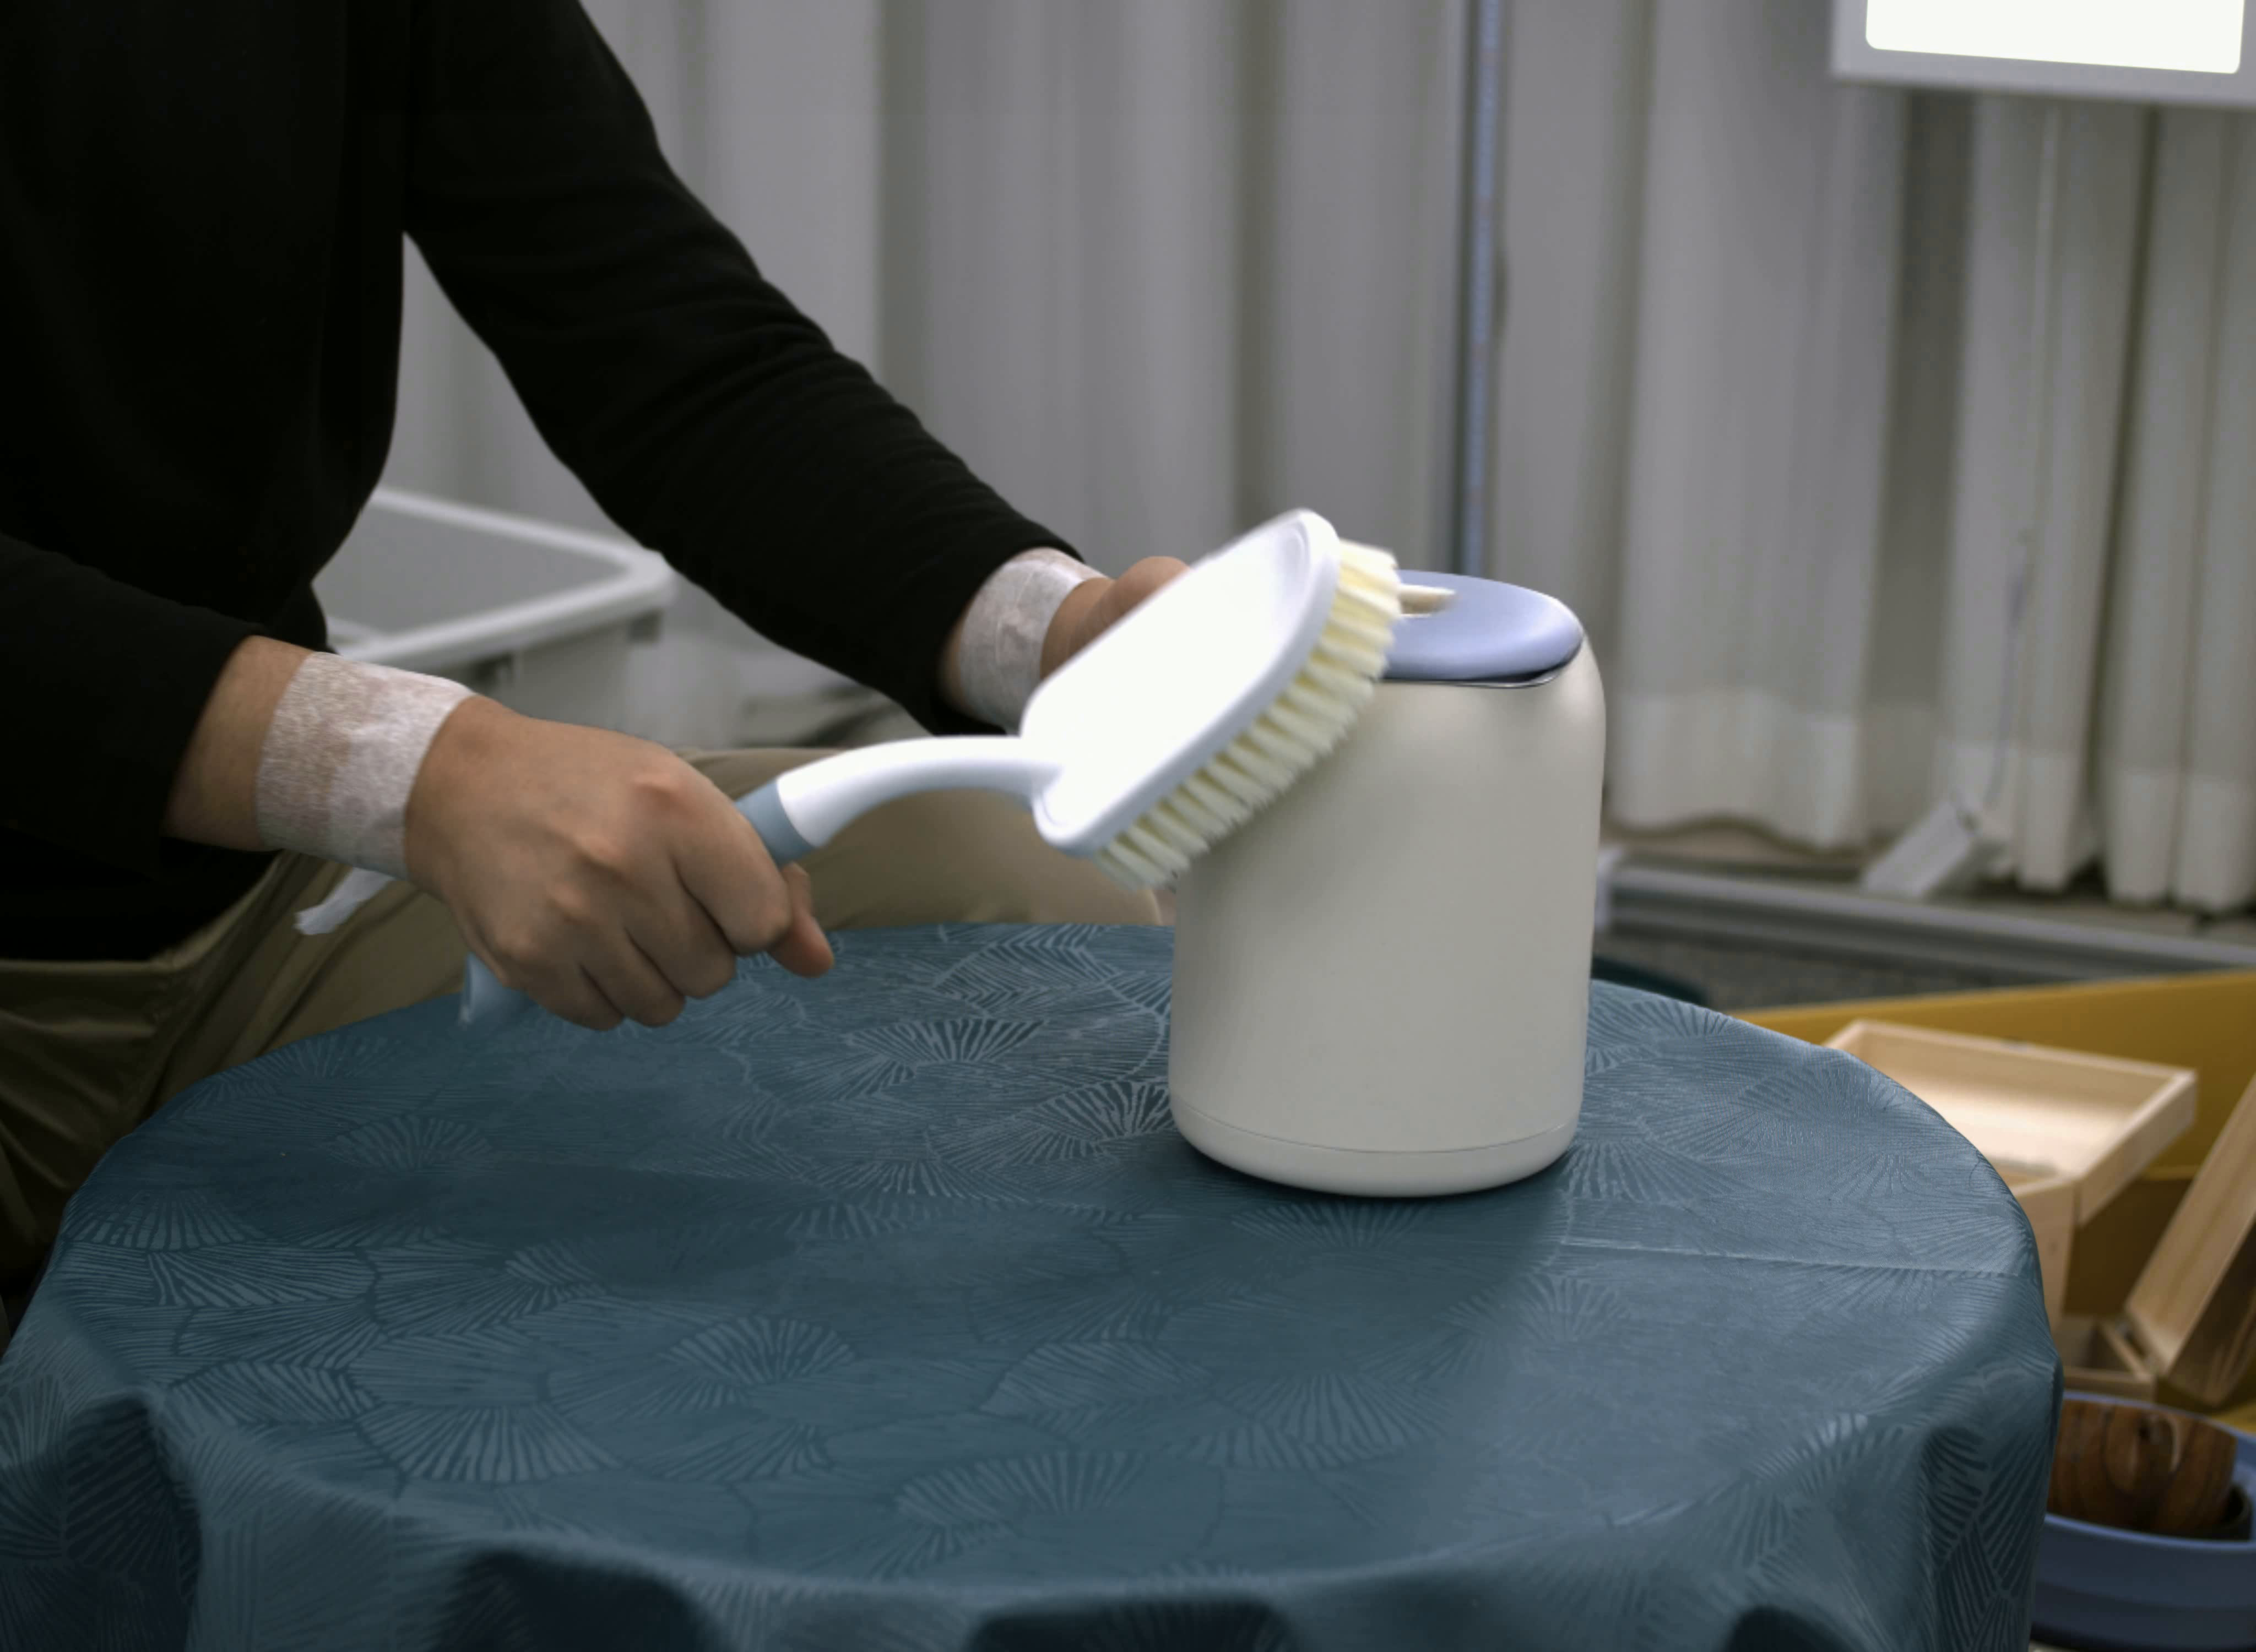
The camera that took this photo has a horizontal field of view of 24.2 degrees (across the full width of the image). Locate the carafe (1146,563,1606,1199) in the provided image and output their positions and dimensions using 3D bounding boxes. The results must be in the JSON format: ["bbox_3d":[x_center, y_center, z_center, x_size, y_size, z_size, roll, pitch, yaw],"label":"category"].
[{"bbox_3d":[0.067,0.010,1.660,0.133,0.184,0.188,-8,18,-34],"label":"carafe"}]

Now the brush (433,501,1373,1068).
[{"bbox_3d":[-0.063,0.003,1.587,0.324,0.085,0.083,-30,6,15],"label":"brush"}]
